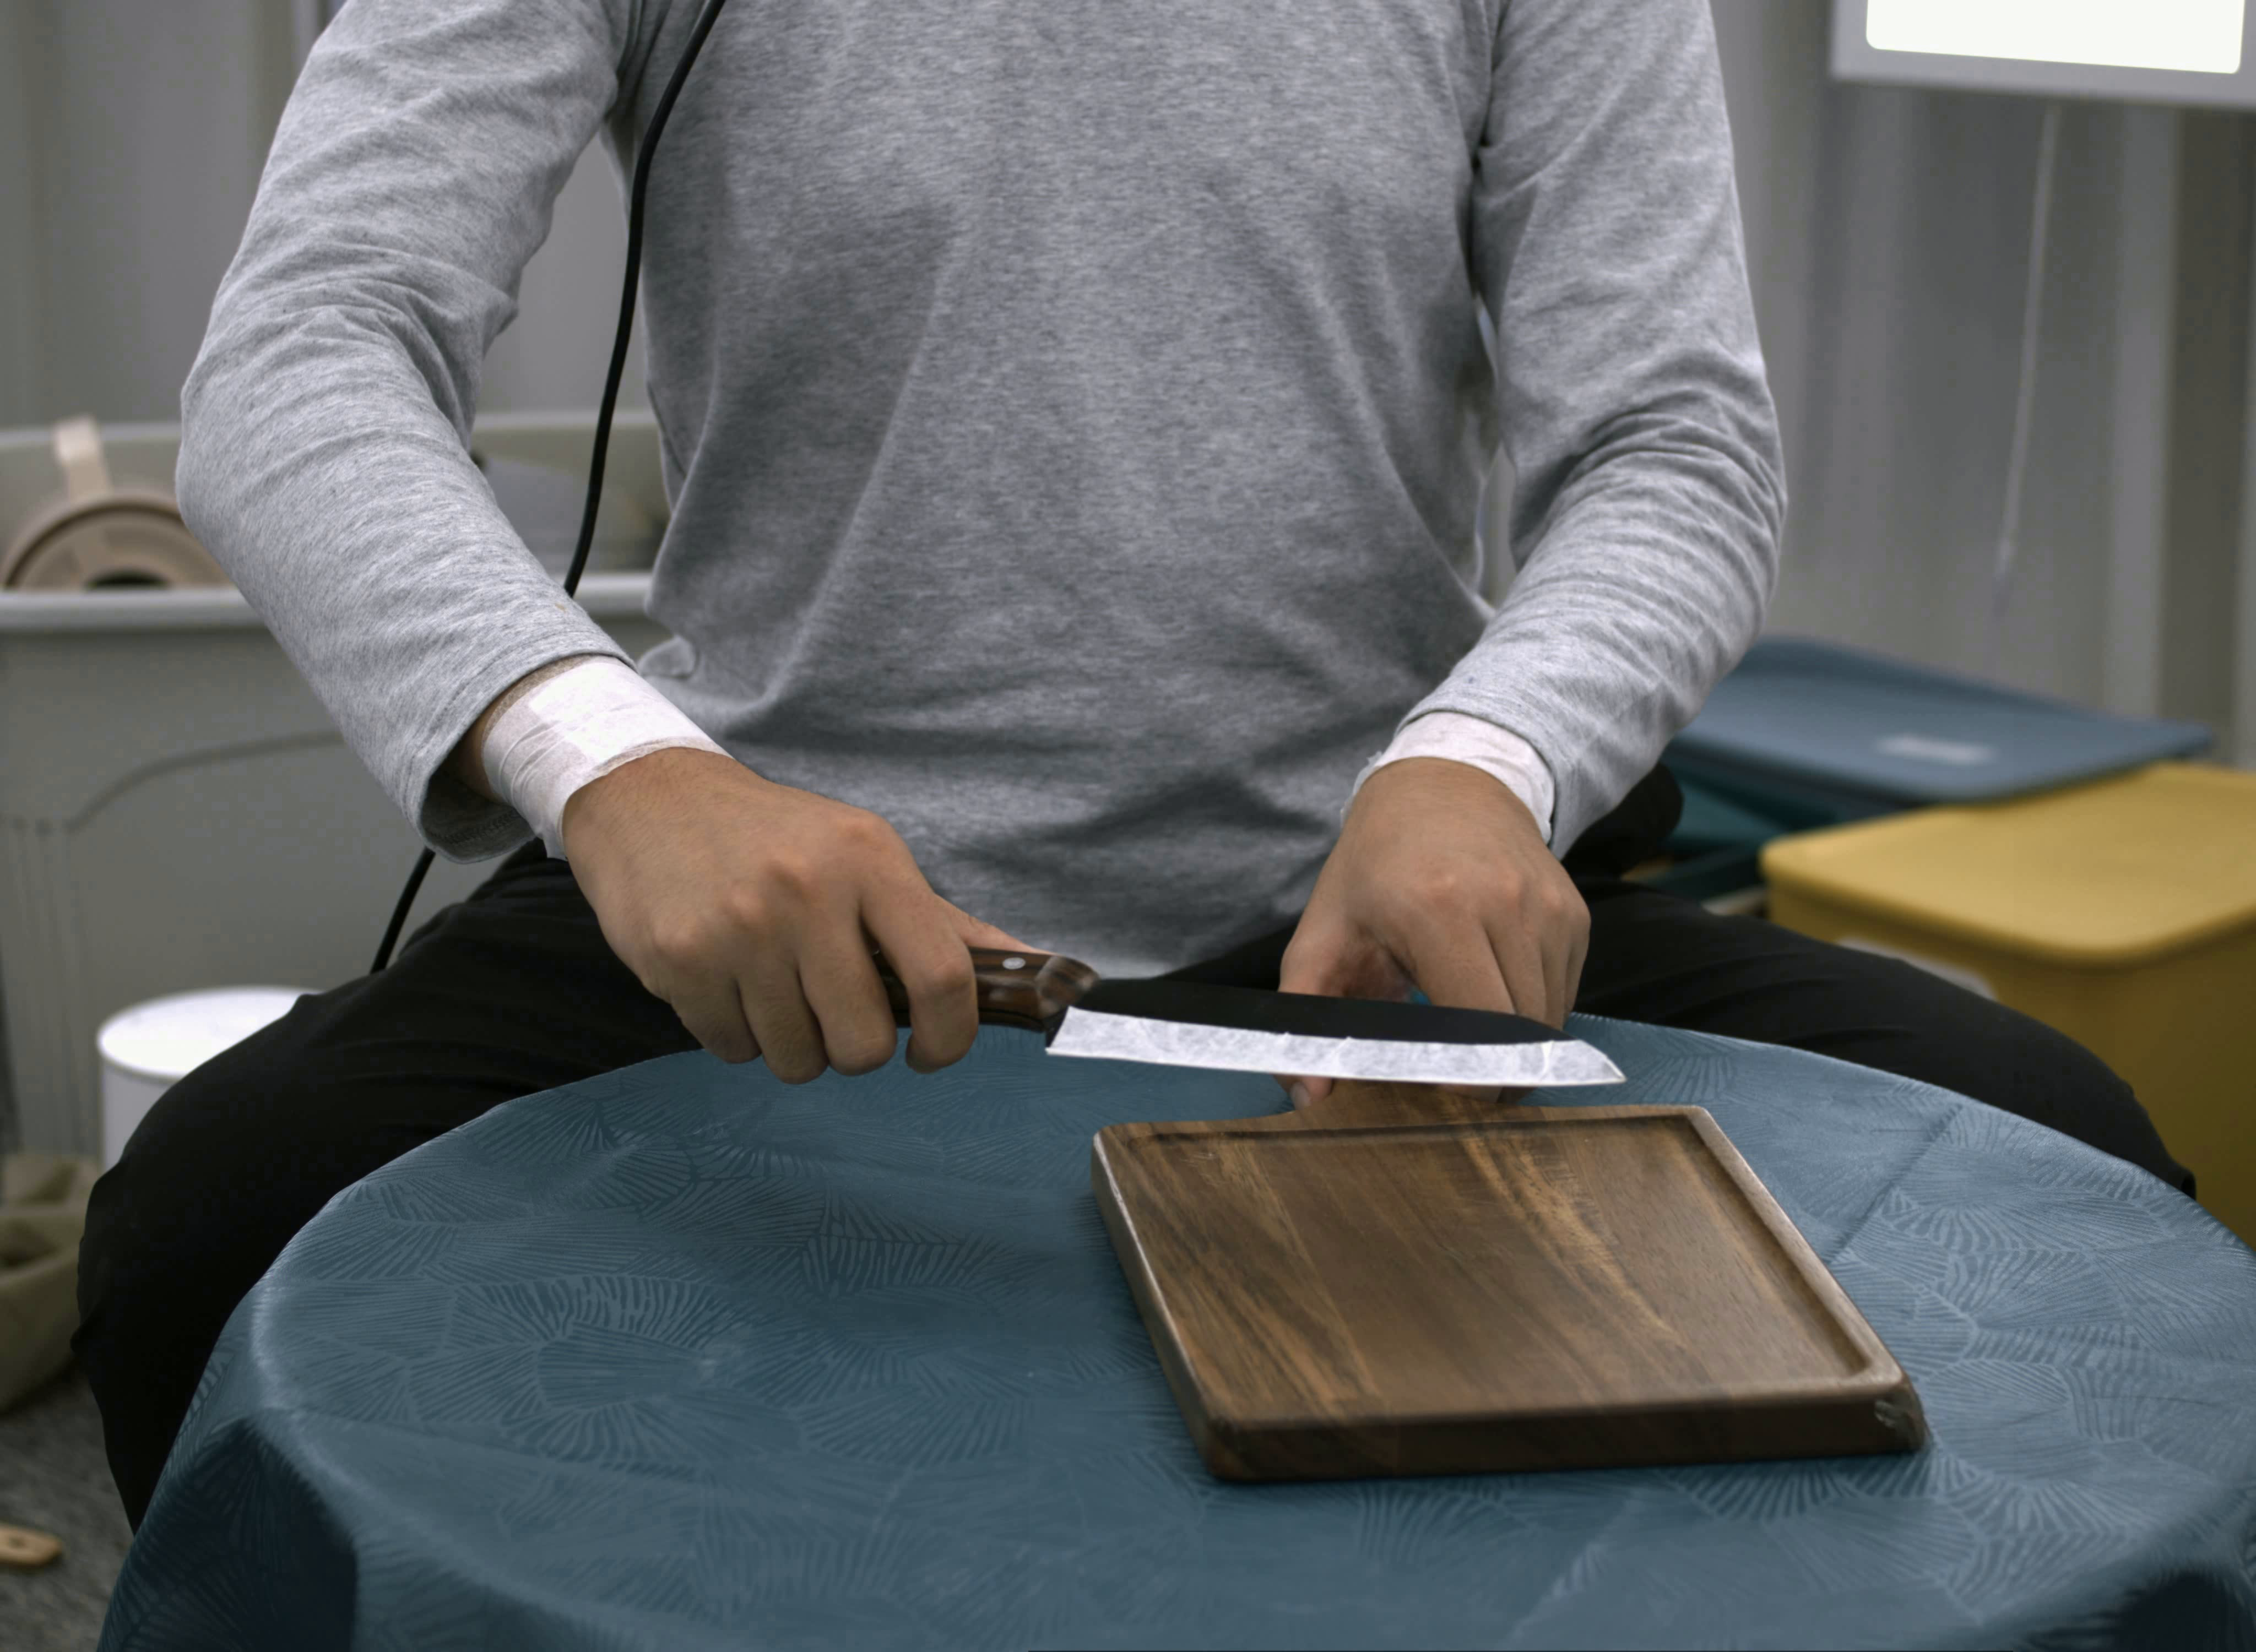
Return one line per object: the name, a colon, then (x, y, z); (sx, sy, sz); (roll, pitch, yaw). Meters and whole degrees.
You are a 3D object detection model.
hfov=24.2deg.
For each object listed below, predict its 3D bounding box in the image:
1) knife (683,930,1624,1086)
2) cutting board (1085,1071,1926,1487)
knife: (0.003, 0.055, 1.525); (0.287, 0.020, 0.050); (6, 33, 15)
cutting board: (0.095, 0.117, 1.570); (0.201, 0.023, 0.349); (-1, 16, -8)
